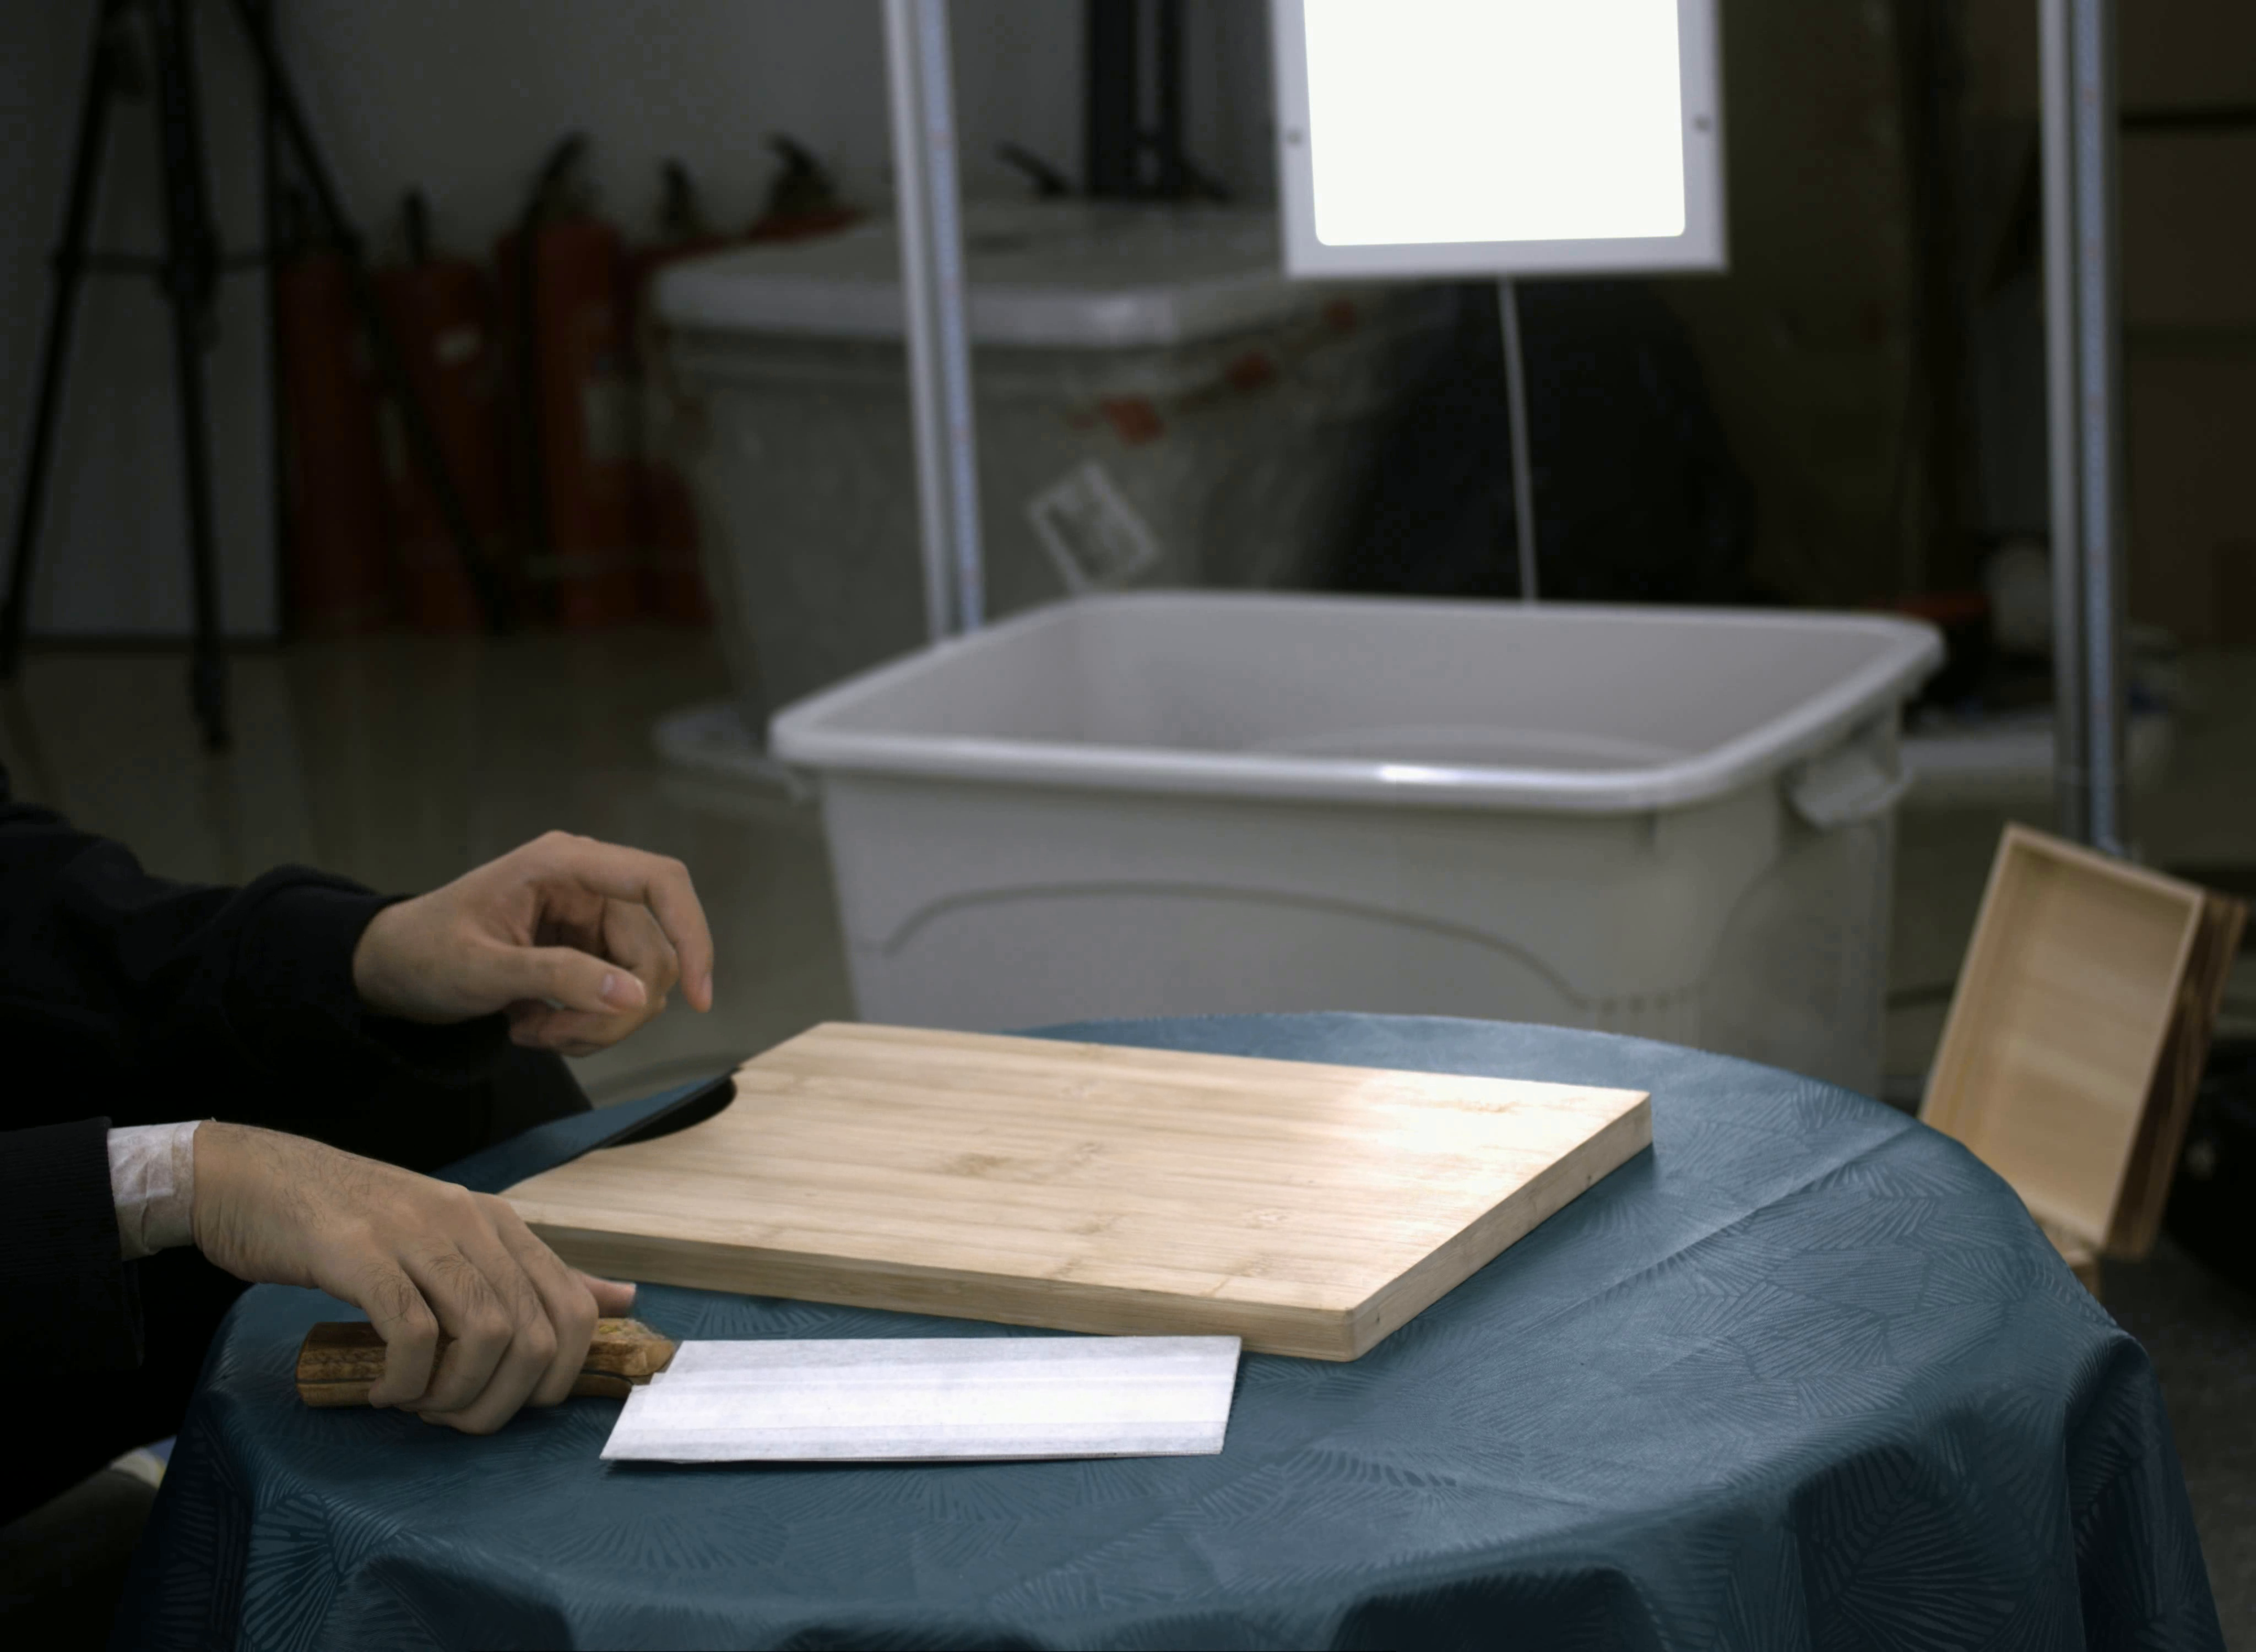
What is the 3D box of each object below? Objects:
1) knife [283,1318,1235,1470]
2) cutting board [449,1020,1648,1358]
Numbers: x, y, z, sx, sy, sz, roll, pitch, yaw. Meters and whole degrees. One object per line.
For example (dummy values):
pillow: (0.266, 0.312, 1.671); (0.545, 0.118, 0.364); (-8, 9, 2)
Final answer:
knife: (-0.118, 0.177, 1.707); (0.307, 0.021, 0.092); (-2, 18, 9)
cutting board: (-0.026, 0.120, 1.896); (0.355, 0.023, 0.245); (3, 16, 30)
